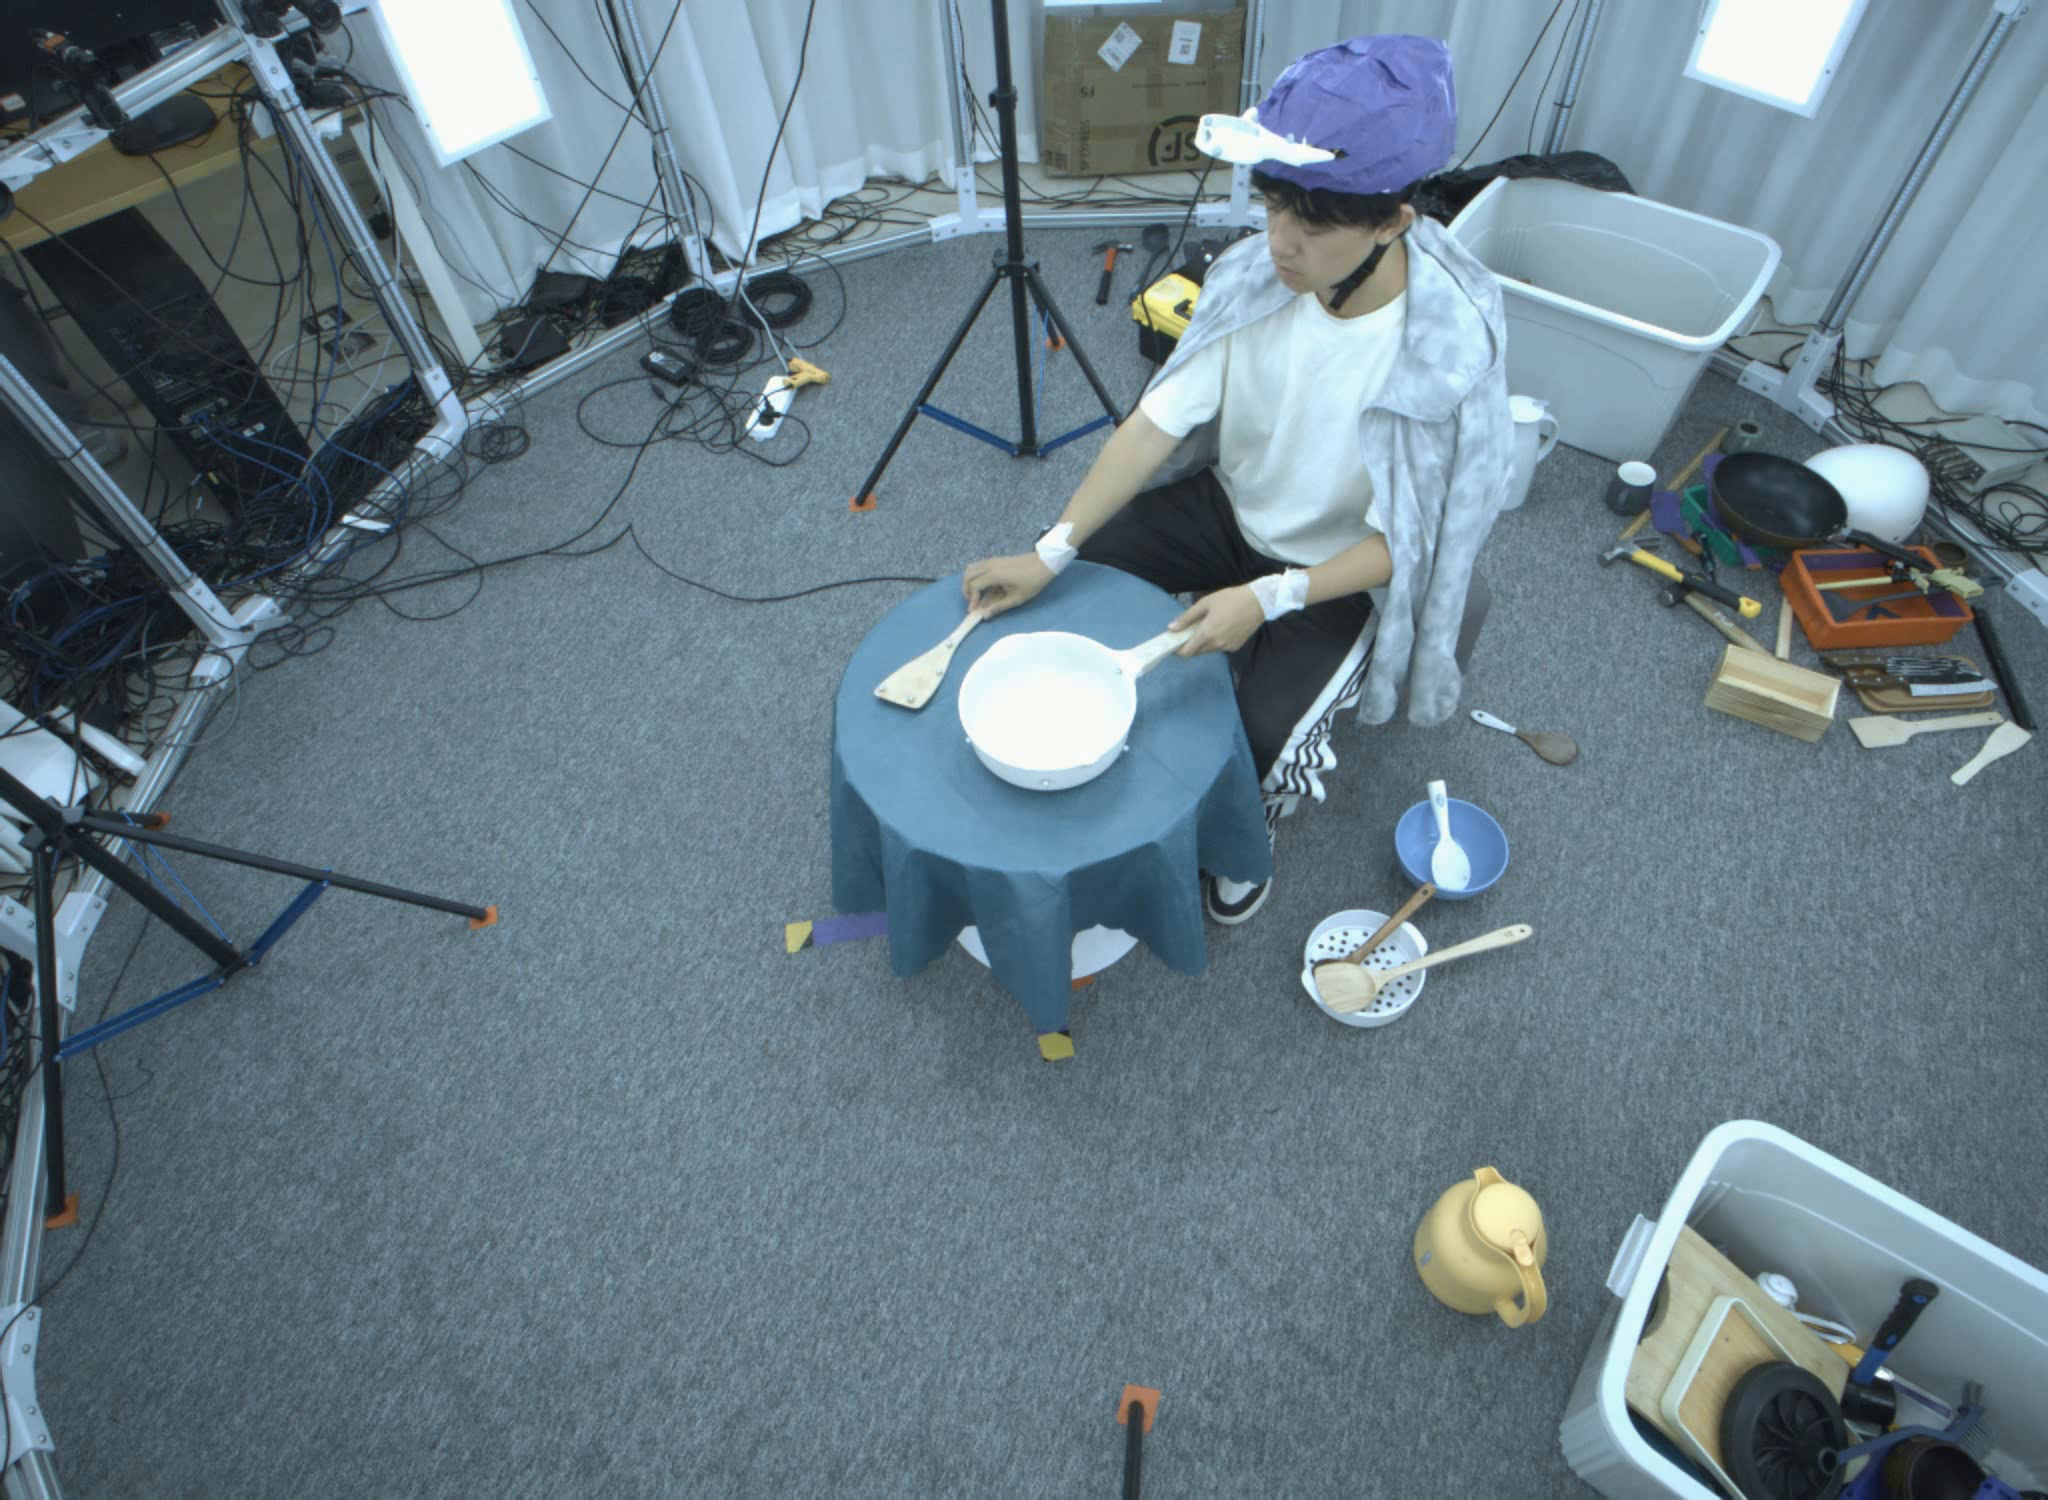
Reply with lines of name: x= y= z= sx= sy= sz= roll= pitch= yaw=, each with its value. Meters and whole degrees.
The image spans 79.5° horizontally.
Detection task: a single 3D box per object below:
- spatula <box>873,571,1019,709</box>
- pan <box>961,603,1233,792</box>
spatula: x=-0.106 y=-0.177 z=1.908 sx=0.079 sy=0.017 sz=0.329 roll=28 pitch=60 yaw=20
pan: x=0.118 y=-0.090 z=1.787 sx=0.438 sy=0.103 sz=0.258 roll=-25 pitch=56 yaw=-15
